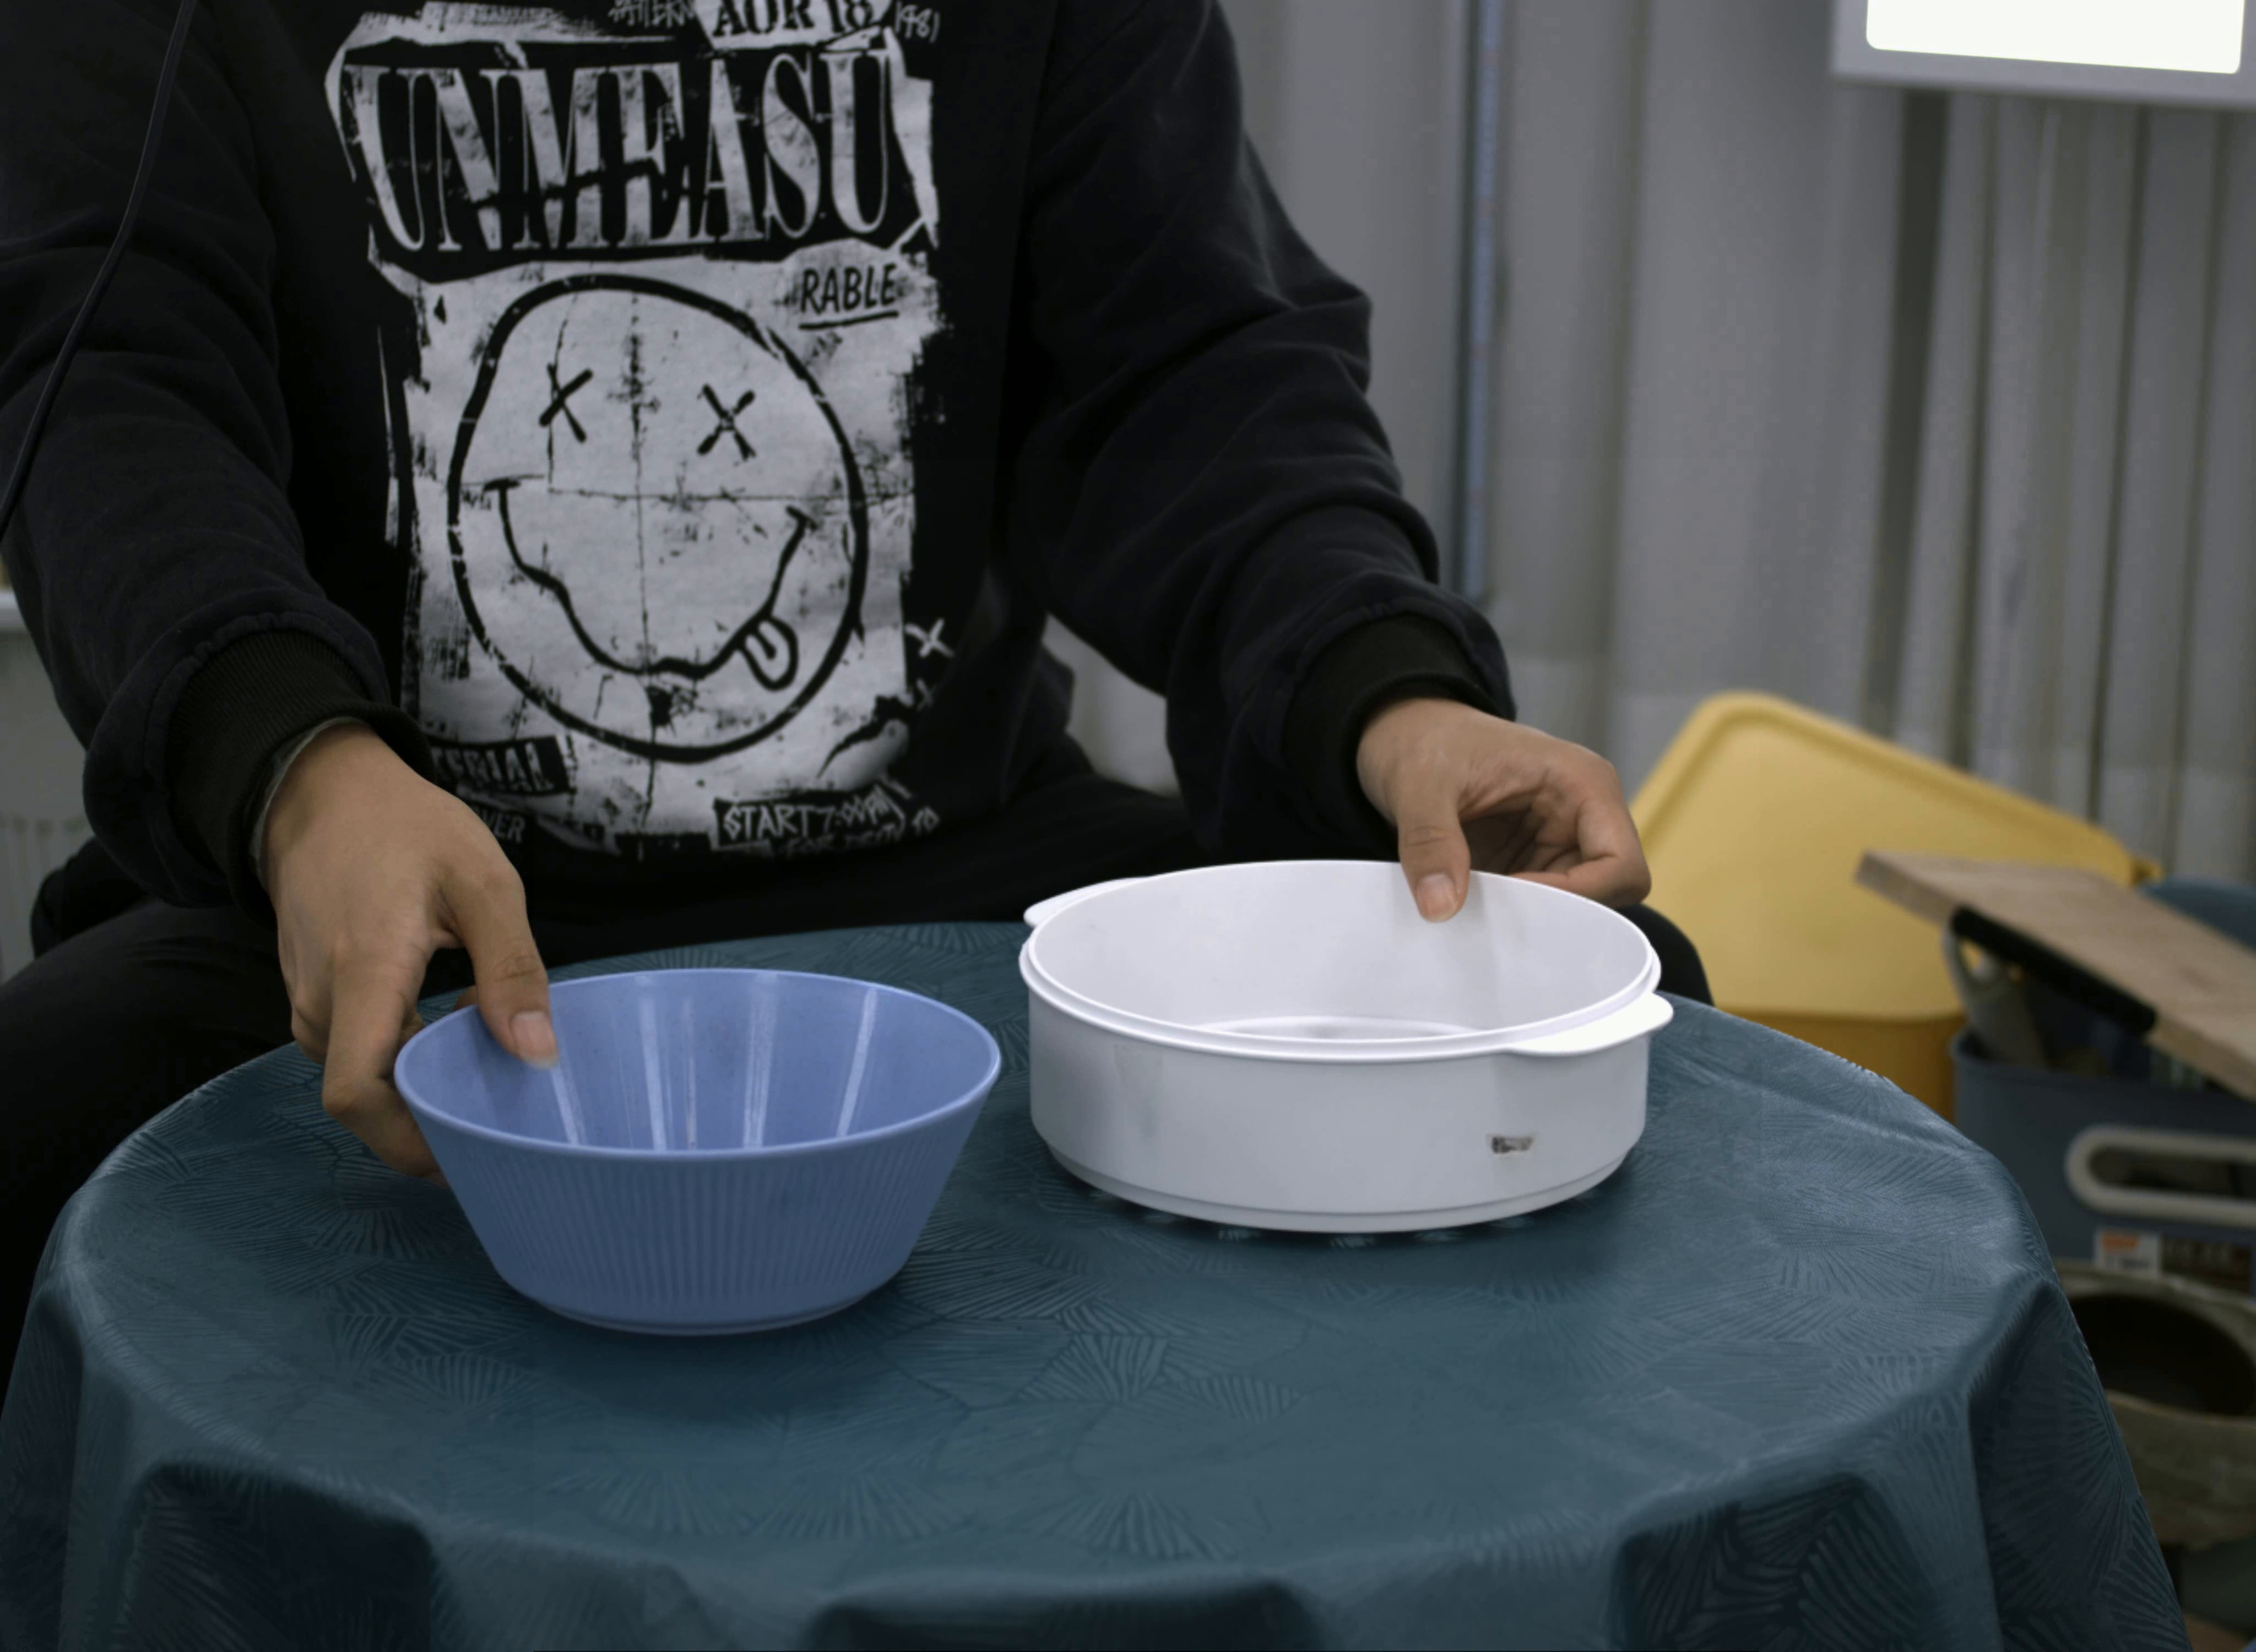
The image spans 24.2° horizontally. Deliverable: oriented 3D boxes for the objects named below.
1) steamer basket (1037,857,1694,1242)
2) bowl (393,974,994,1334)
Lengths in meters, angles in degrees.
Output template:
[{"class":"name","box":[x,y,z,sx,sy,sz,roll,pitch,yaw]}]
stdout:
[{"class":"steamer basket","box":[0.071,0.070,1.655,0.227,0.070,0.203,16,22,37]},{"class":"bowl","box":[-0.127,0.098,1.542,0.175,0.071,0.175,2,15,0]}]
